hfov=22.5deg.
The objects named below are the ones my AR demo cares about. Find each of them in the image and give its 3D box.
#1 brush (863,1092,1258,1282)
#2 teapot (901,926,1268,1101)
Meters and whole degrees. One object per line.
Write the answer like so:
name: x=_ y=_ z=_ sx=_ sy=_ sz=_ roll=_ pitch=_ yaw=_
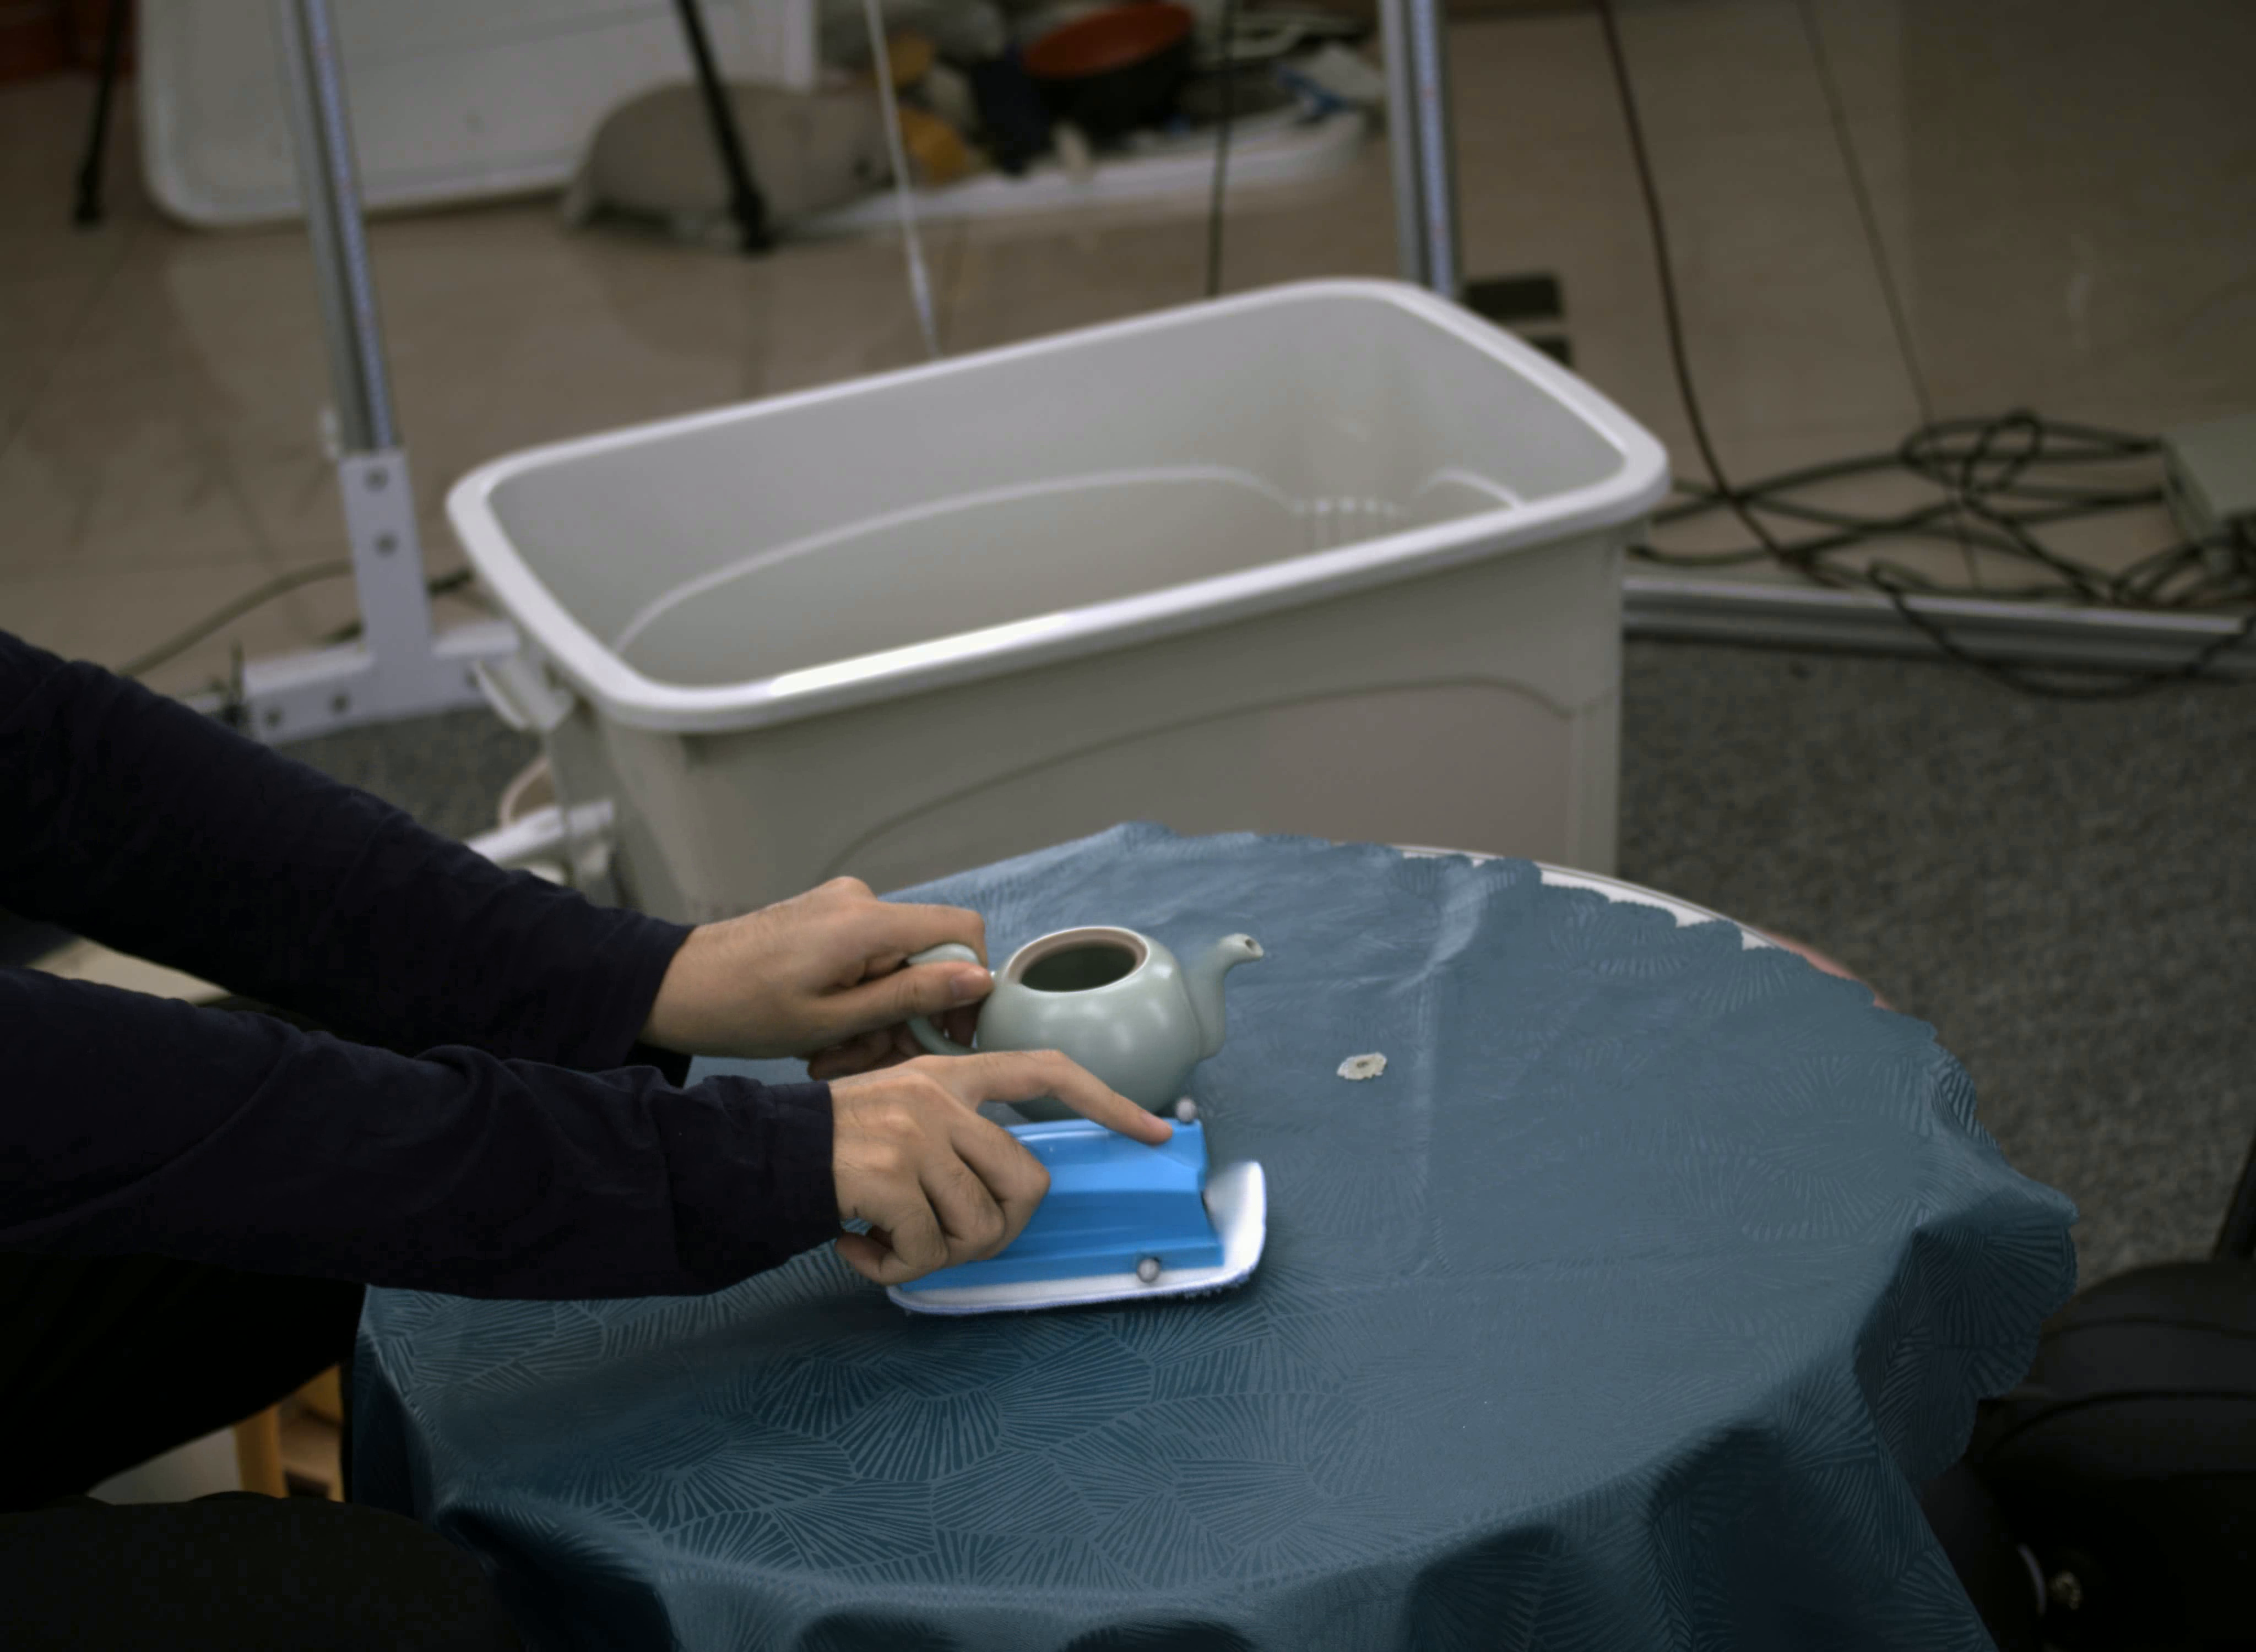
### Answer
brush: x=-0.026 y=0.128 z=2.075 sx=0.144 sy=0.057 sz=0.082 roll=-5 pitch=25 yaw=-3
teapot: x=-0.016 y=0.078 z=2.195 sx=0.143 sy=0.076 sz=0.087 roll=1 pitch=27 yaw=10
